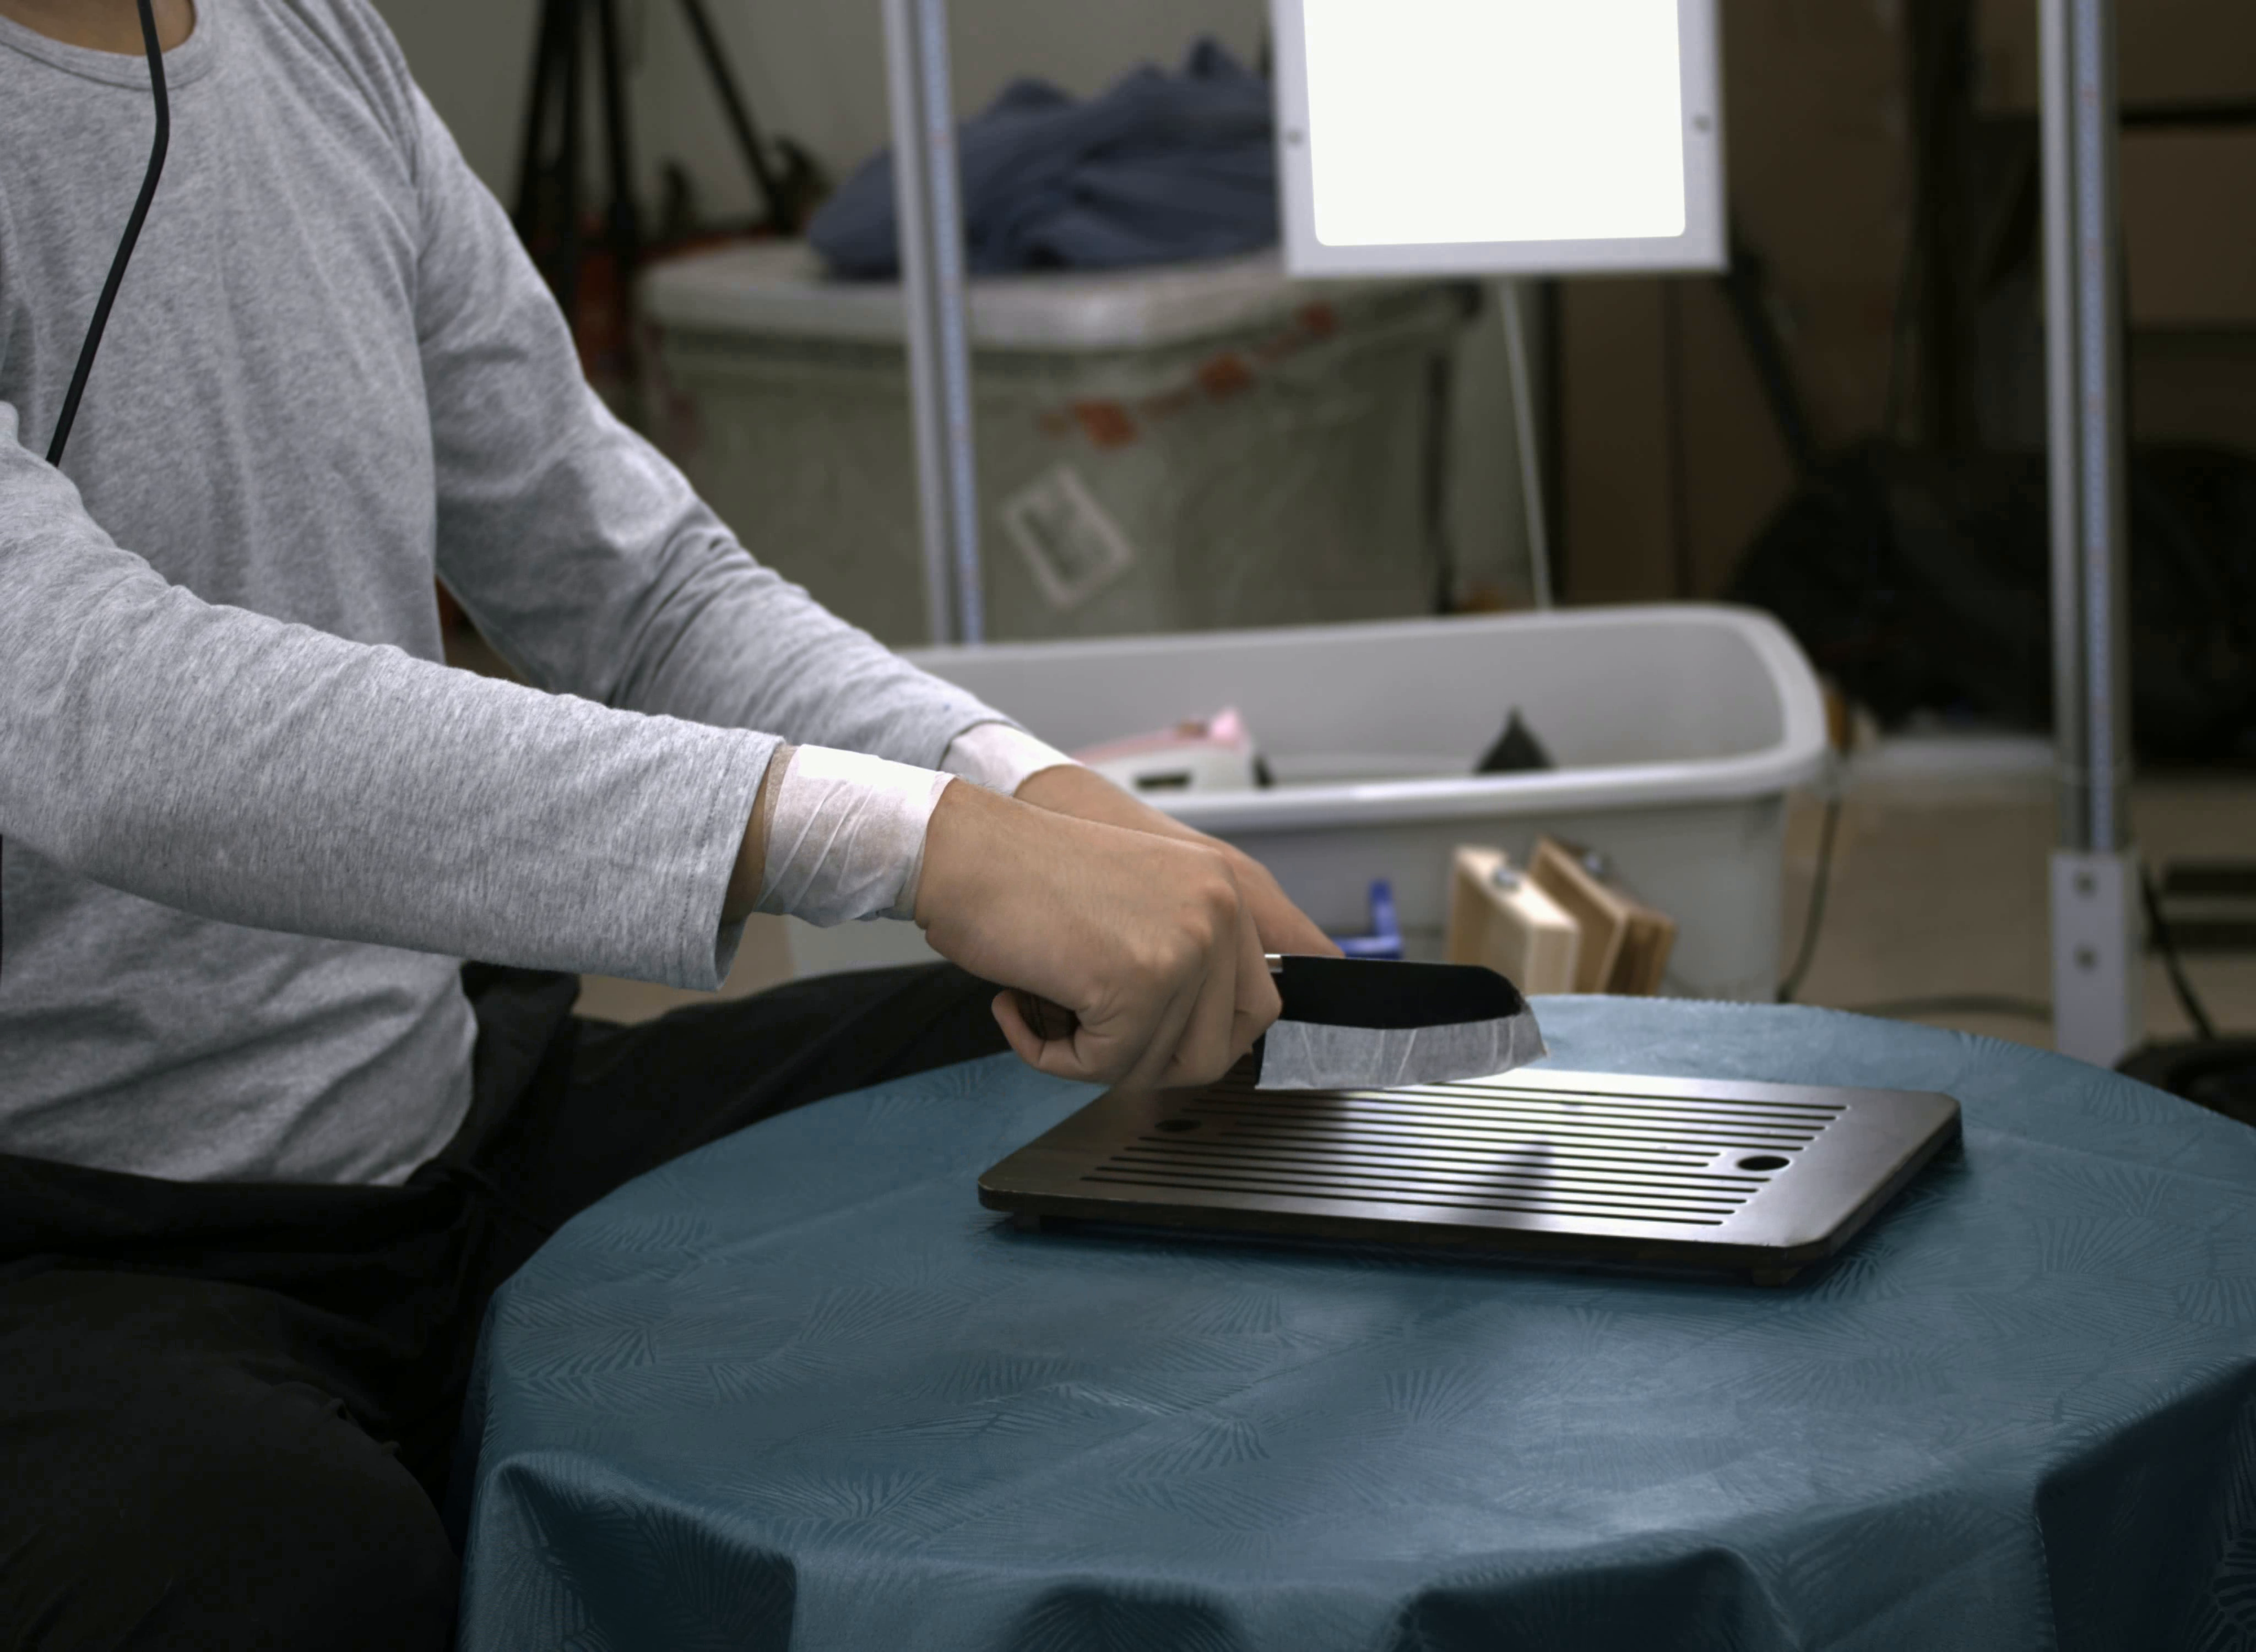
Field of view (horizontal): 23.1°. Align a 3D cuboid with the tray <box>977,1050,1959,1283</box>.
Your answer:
[{"bbox_3d":[0.117,0.114,1.874,0.311,0.019,0.166,2,15,28],"label":"tray"}]

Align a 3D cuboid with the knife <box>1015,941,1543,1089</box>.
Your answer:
[{"bbox_3d":[0.057,0.061,1.797,0.020,0.050,0.282,10,2,39],"label":"knife"}]
